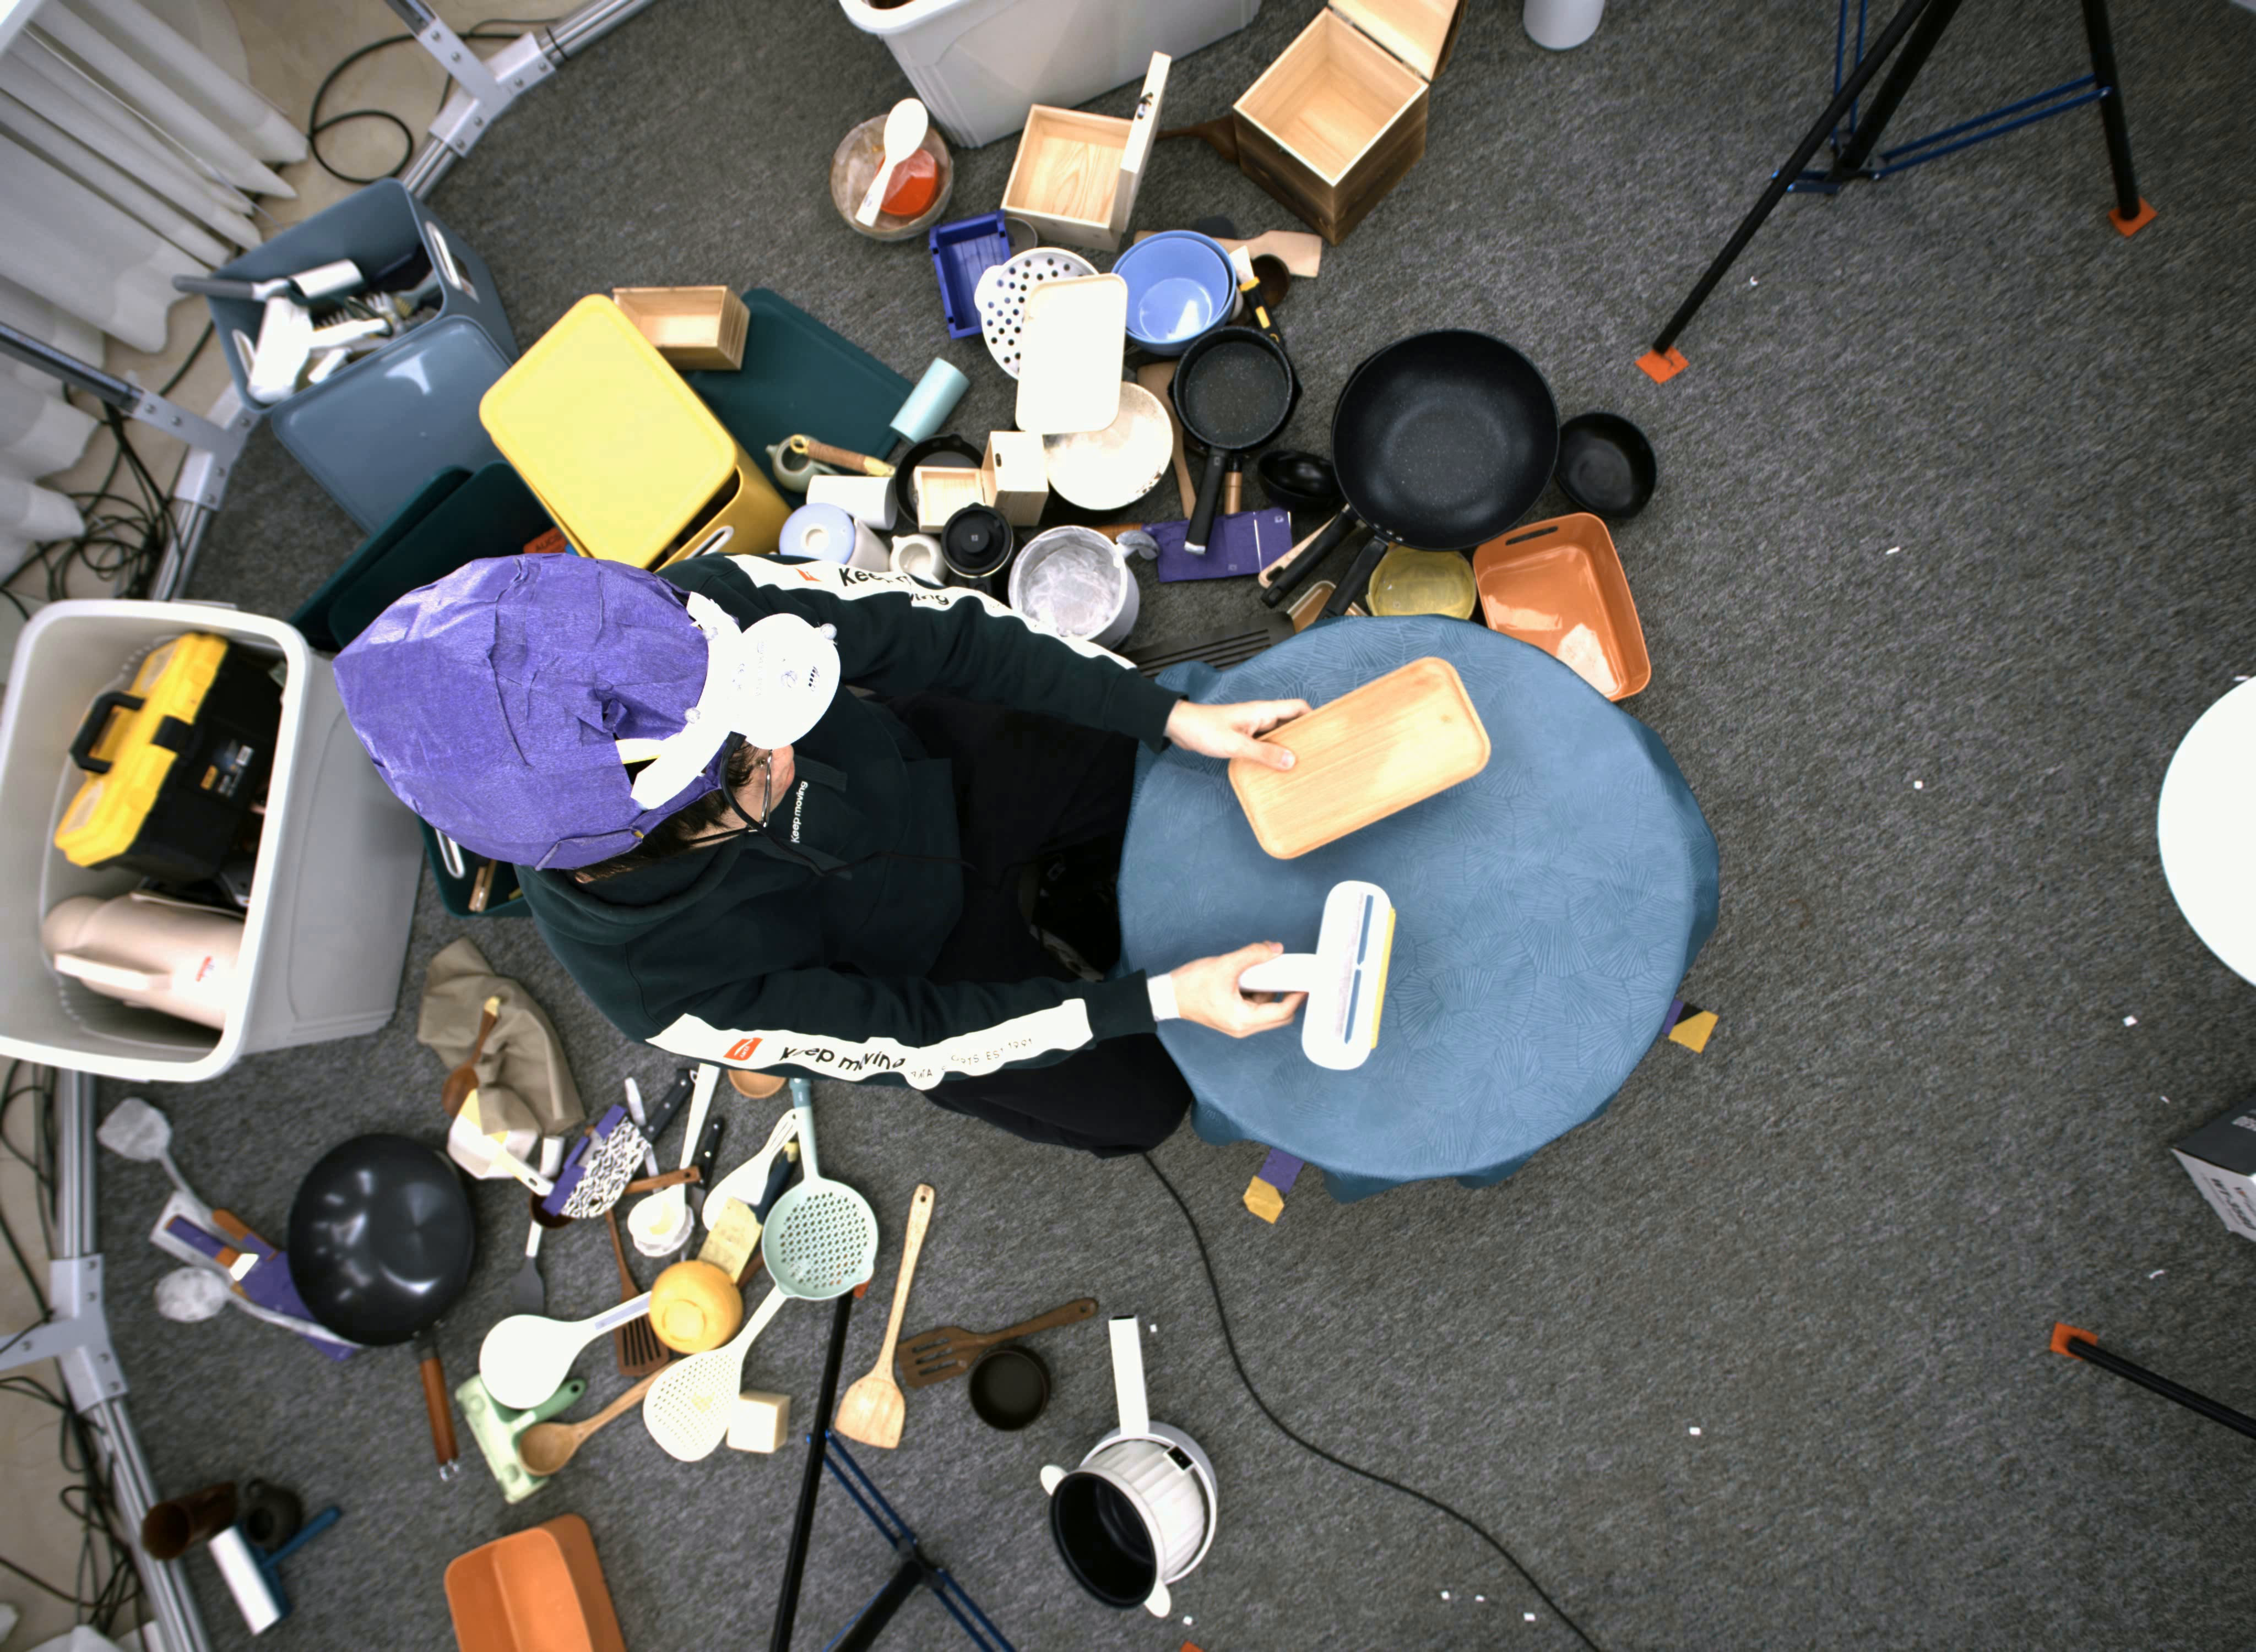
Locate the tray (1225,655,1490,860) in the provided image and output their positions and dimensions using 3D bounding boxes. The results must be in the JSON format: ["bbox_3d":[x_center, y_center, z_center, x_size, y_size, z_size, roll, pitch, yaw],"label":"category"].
[{"bbox_3d":[0.226,-0.068,1.372,0.253,0.022,0.130,-25,88,17],"label":"tray"}]

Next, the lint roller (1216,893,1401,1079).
[{"bbox_3d":[0.166,0.154,1.381,0.193,0.075,0.189,3,64,33],"label":"lint roller"}]
